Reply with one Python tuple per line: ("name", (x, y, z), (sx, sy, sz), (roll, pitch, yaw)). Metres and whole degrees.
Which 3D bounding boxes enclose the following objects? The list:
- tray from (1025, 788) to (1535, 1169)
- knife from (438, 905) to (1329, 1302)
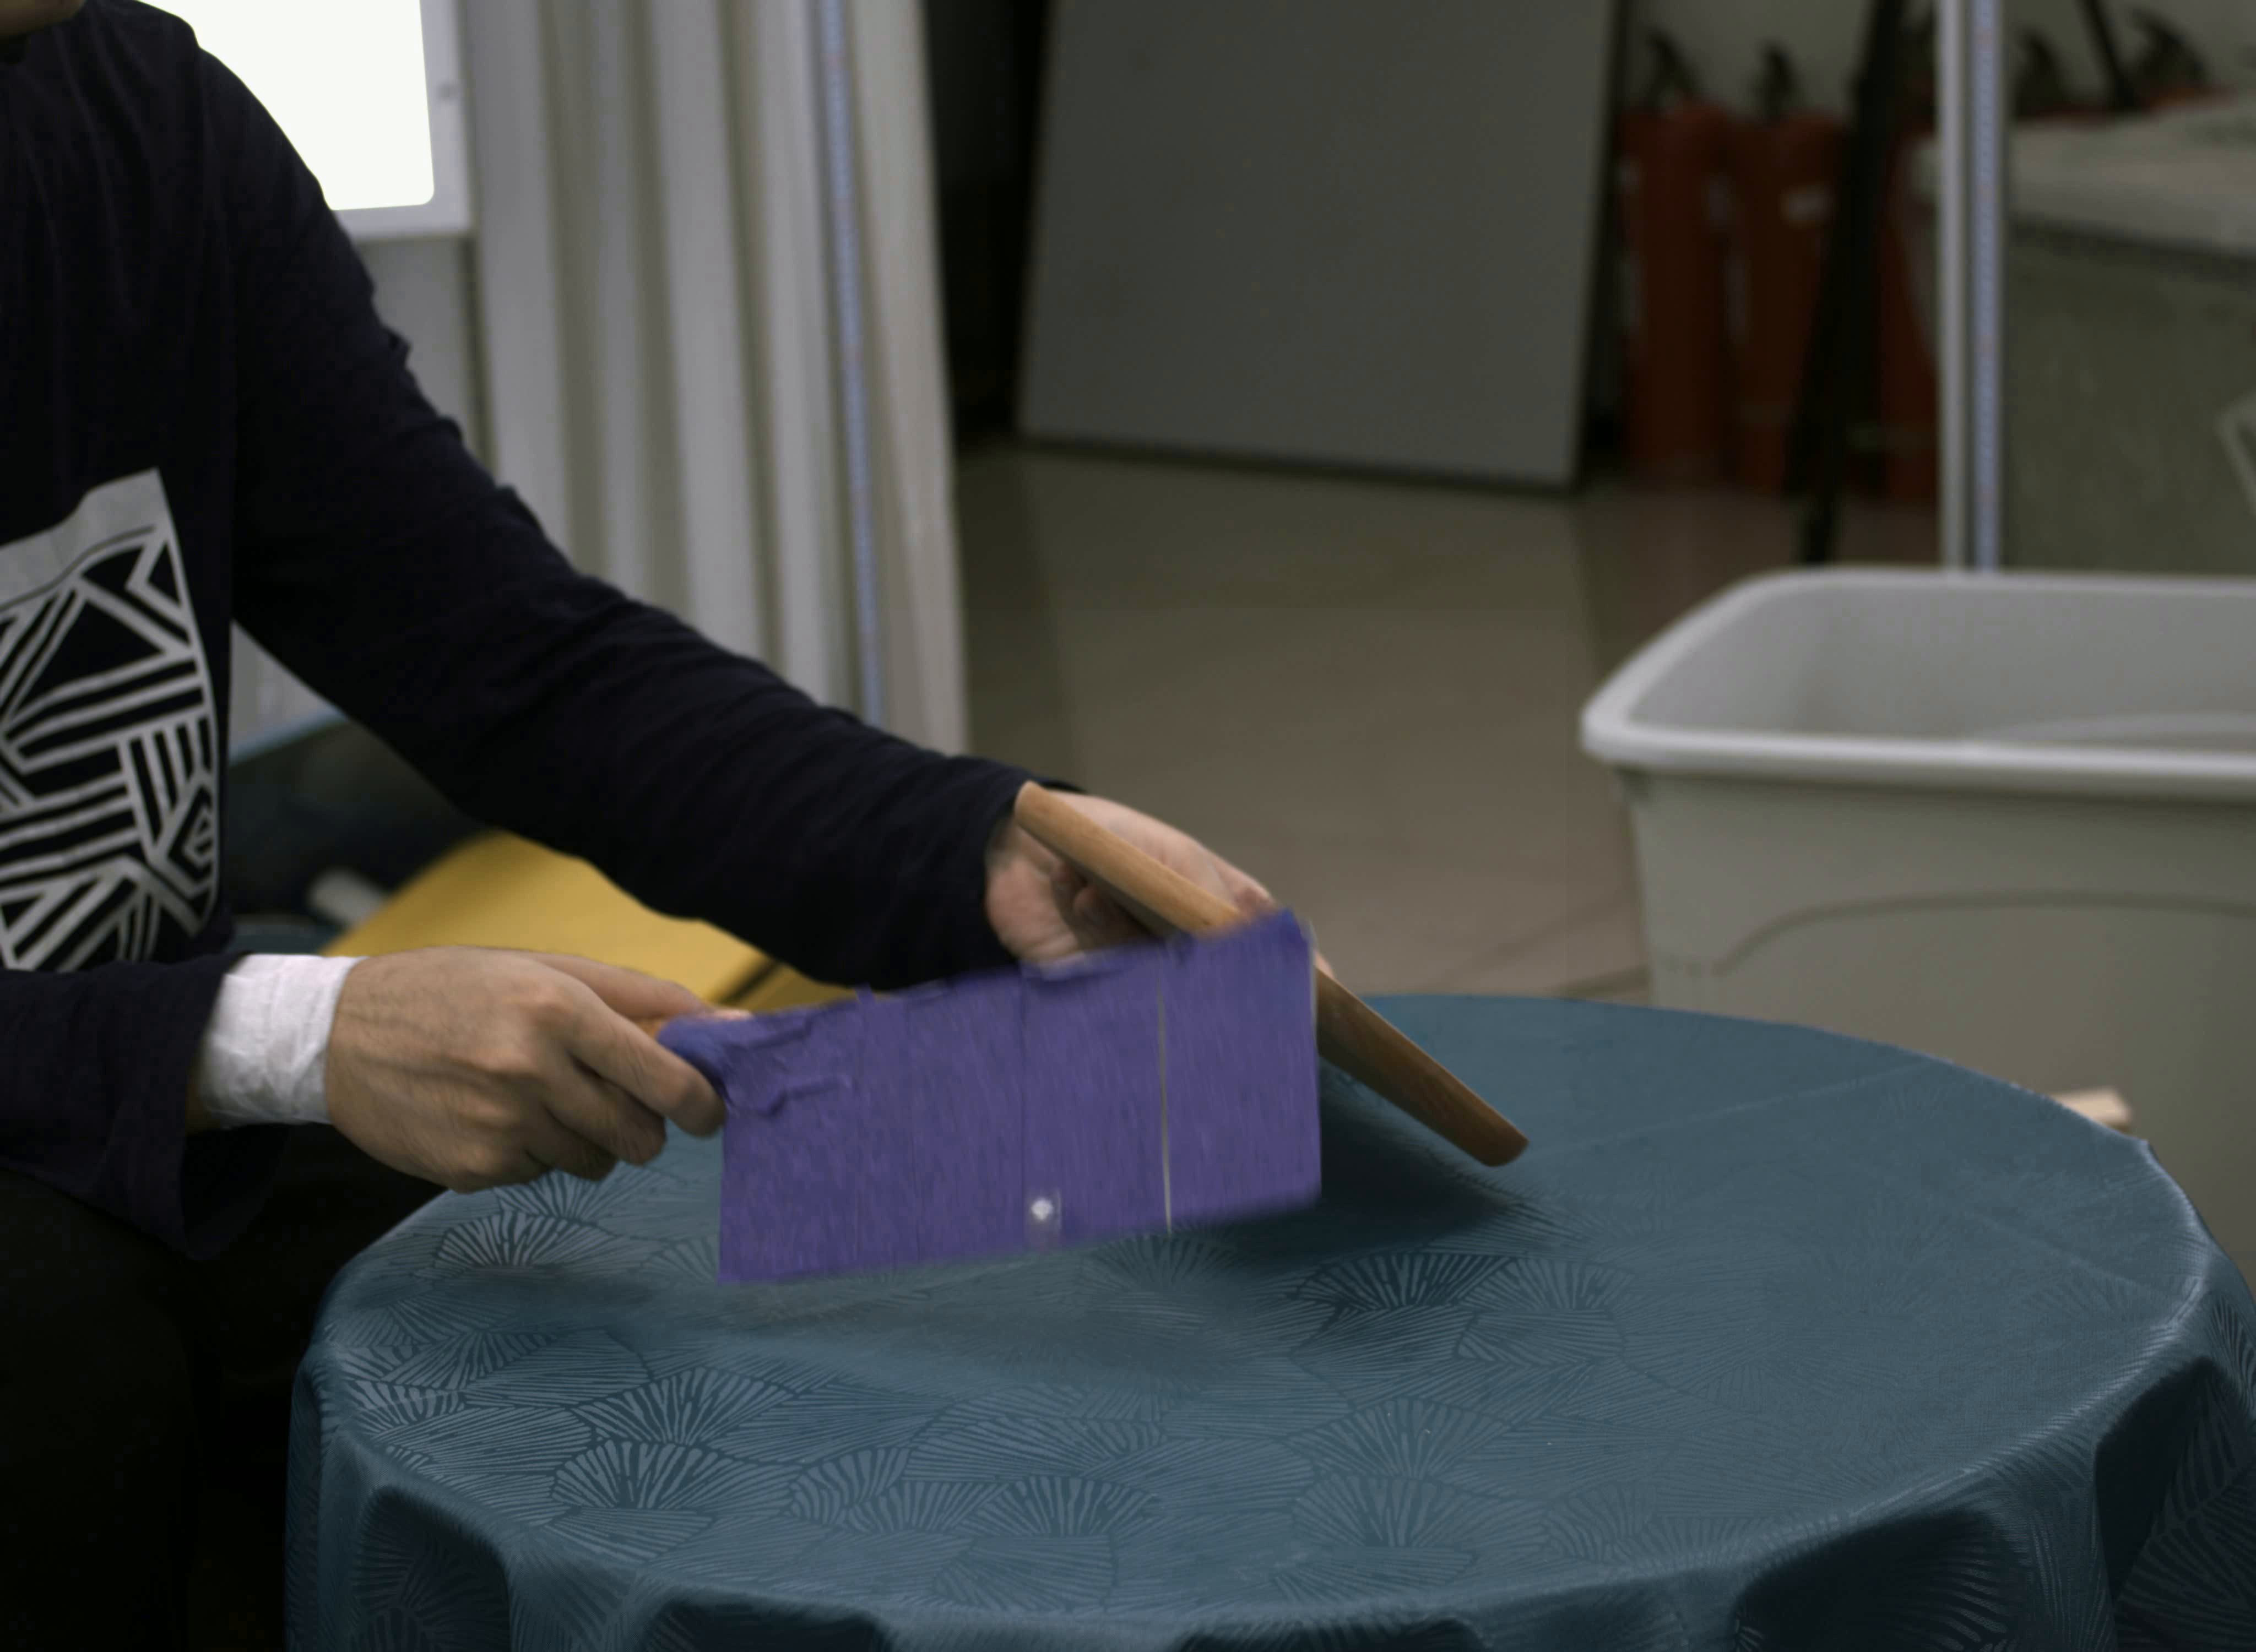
("tray", (0.046, 0.050, 1.800), (0.023, 0.129, 0.253), (-50, 23, -5))
("knife", (-0.080, 0.096, 1.656), (0.316, 0.105, 0.032), (-11, -27, 29))
